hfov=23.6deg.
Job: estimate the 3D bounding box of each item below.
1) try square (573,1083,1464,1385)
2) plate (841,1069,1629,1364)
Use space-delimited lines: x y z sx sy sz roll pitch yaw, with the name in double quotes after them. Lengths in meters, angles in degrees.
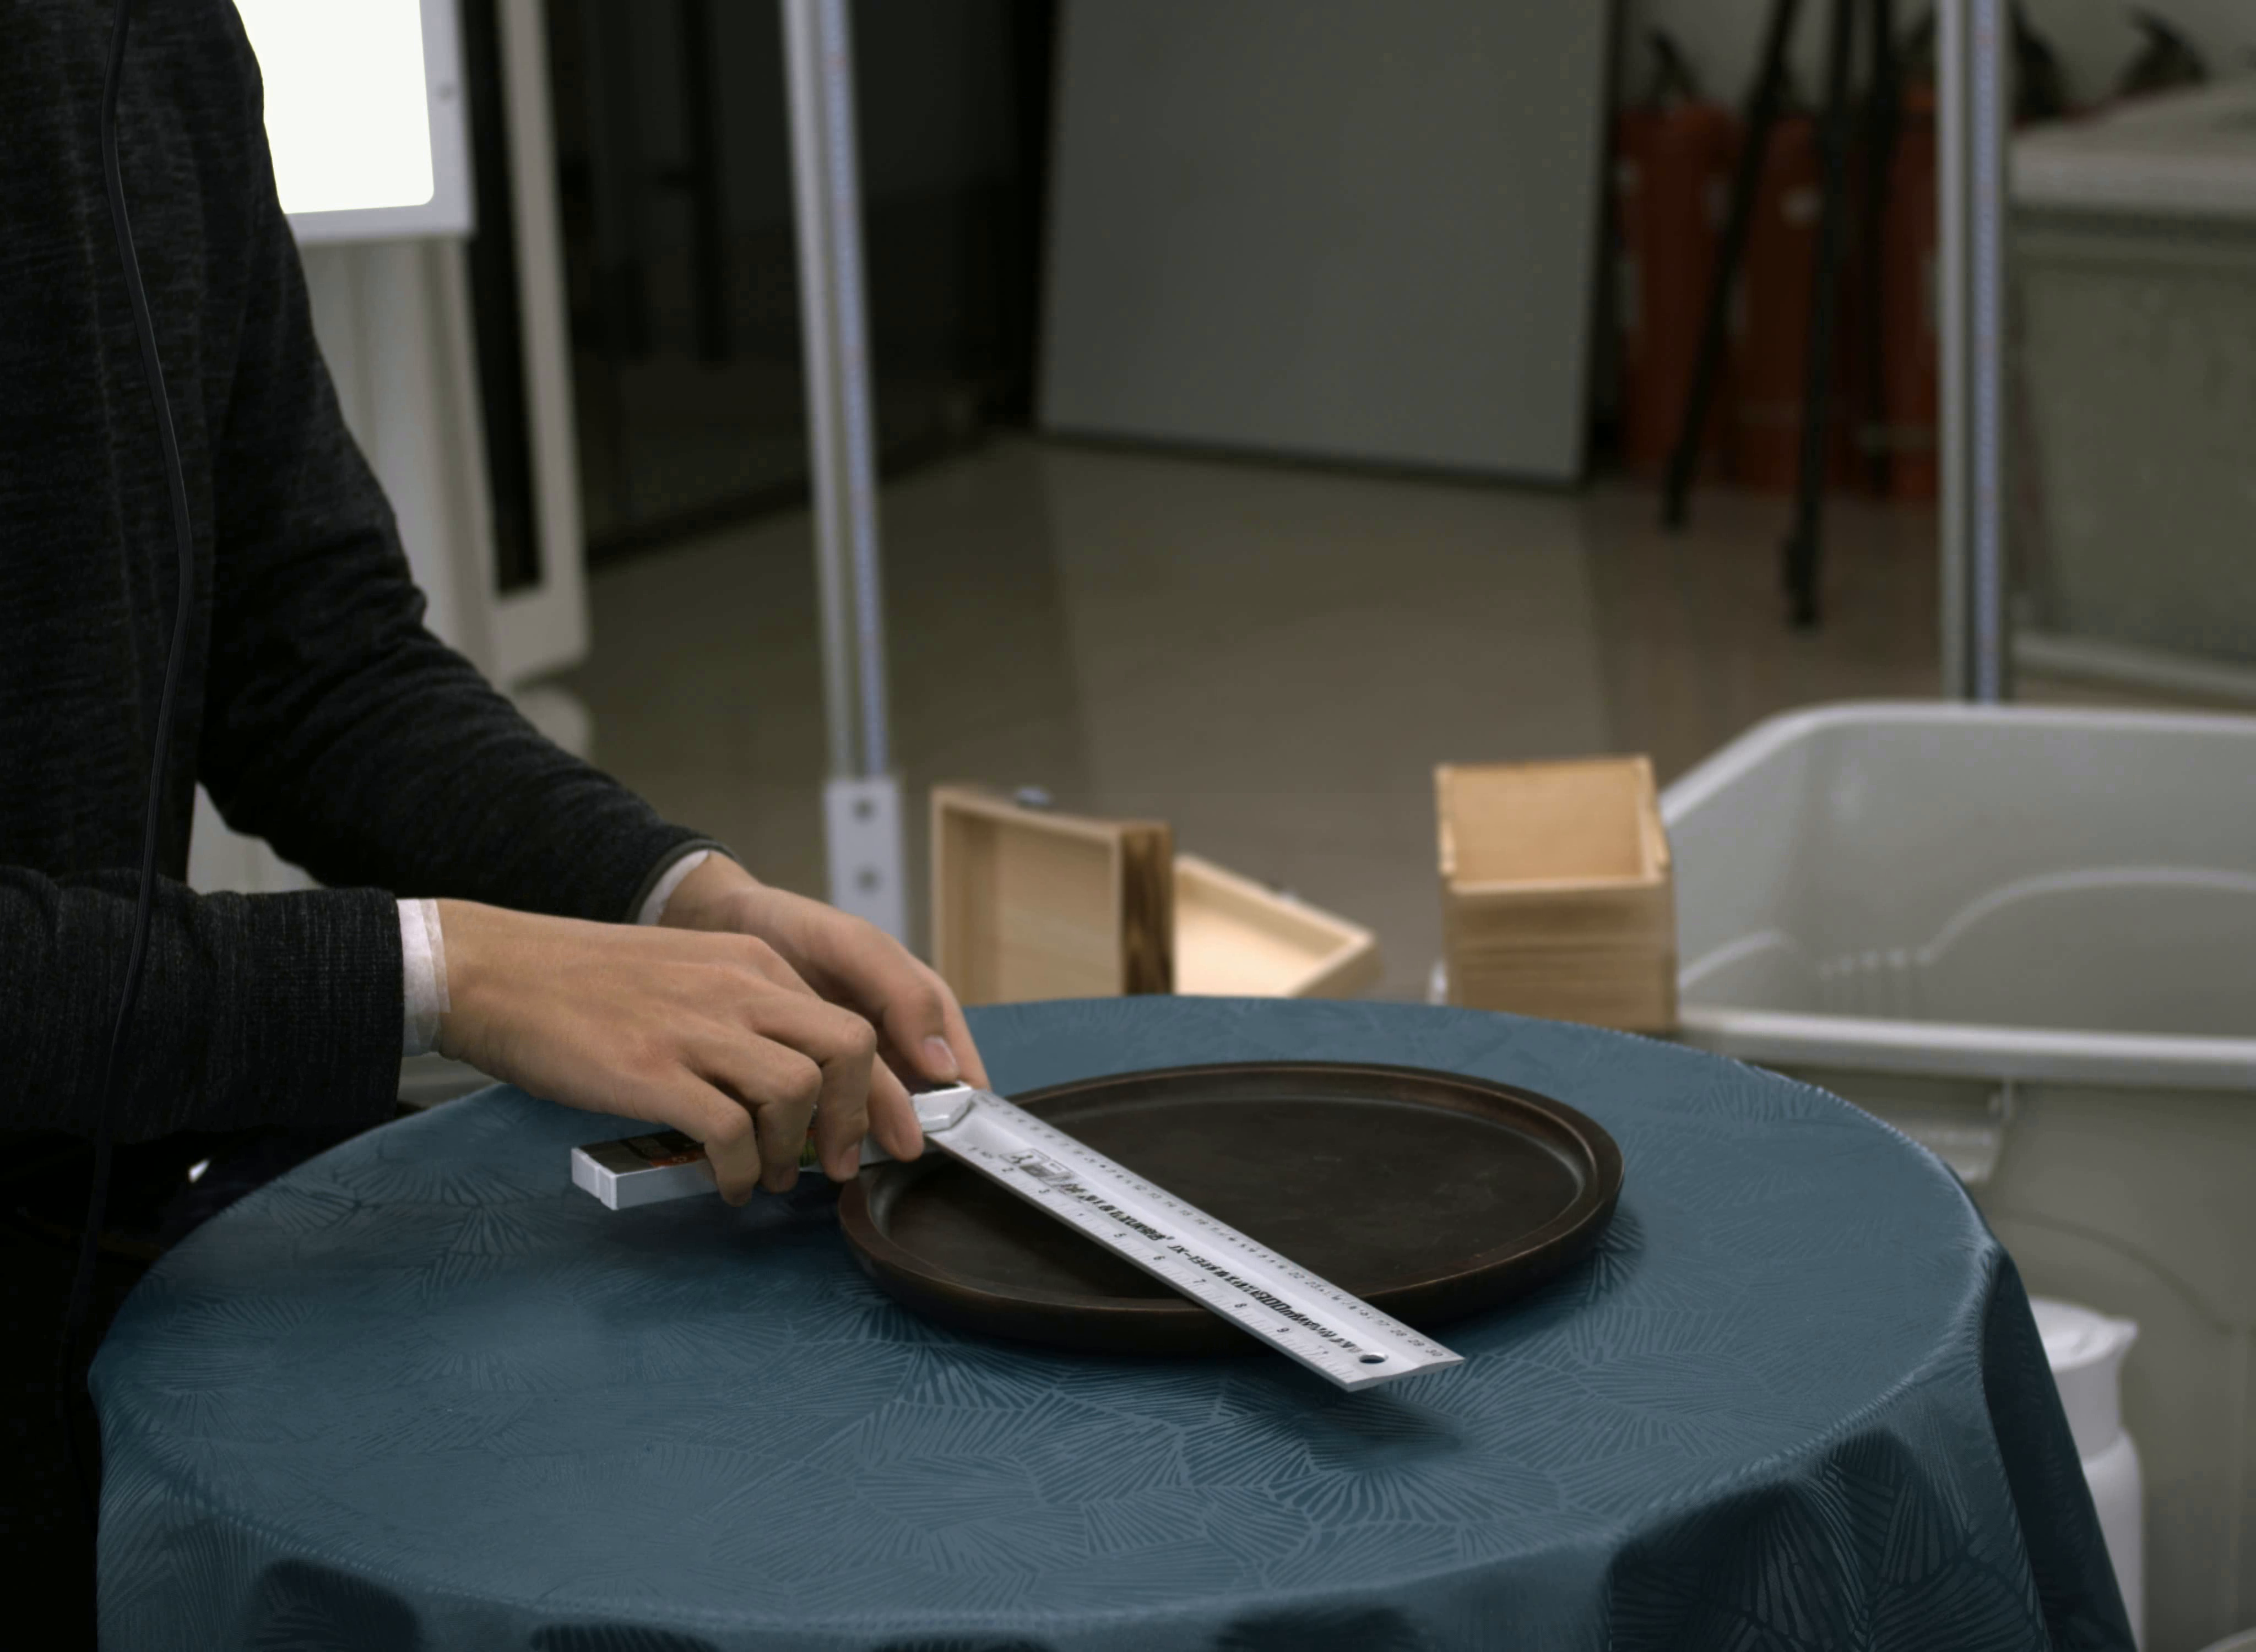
-0.041 0.131 1.636 0.149 0.016 0.316 -10 16 -25 "try square"
0.034 0.121 1.711 0.251 0.029 0.255 -3 14 0 "plate"
